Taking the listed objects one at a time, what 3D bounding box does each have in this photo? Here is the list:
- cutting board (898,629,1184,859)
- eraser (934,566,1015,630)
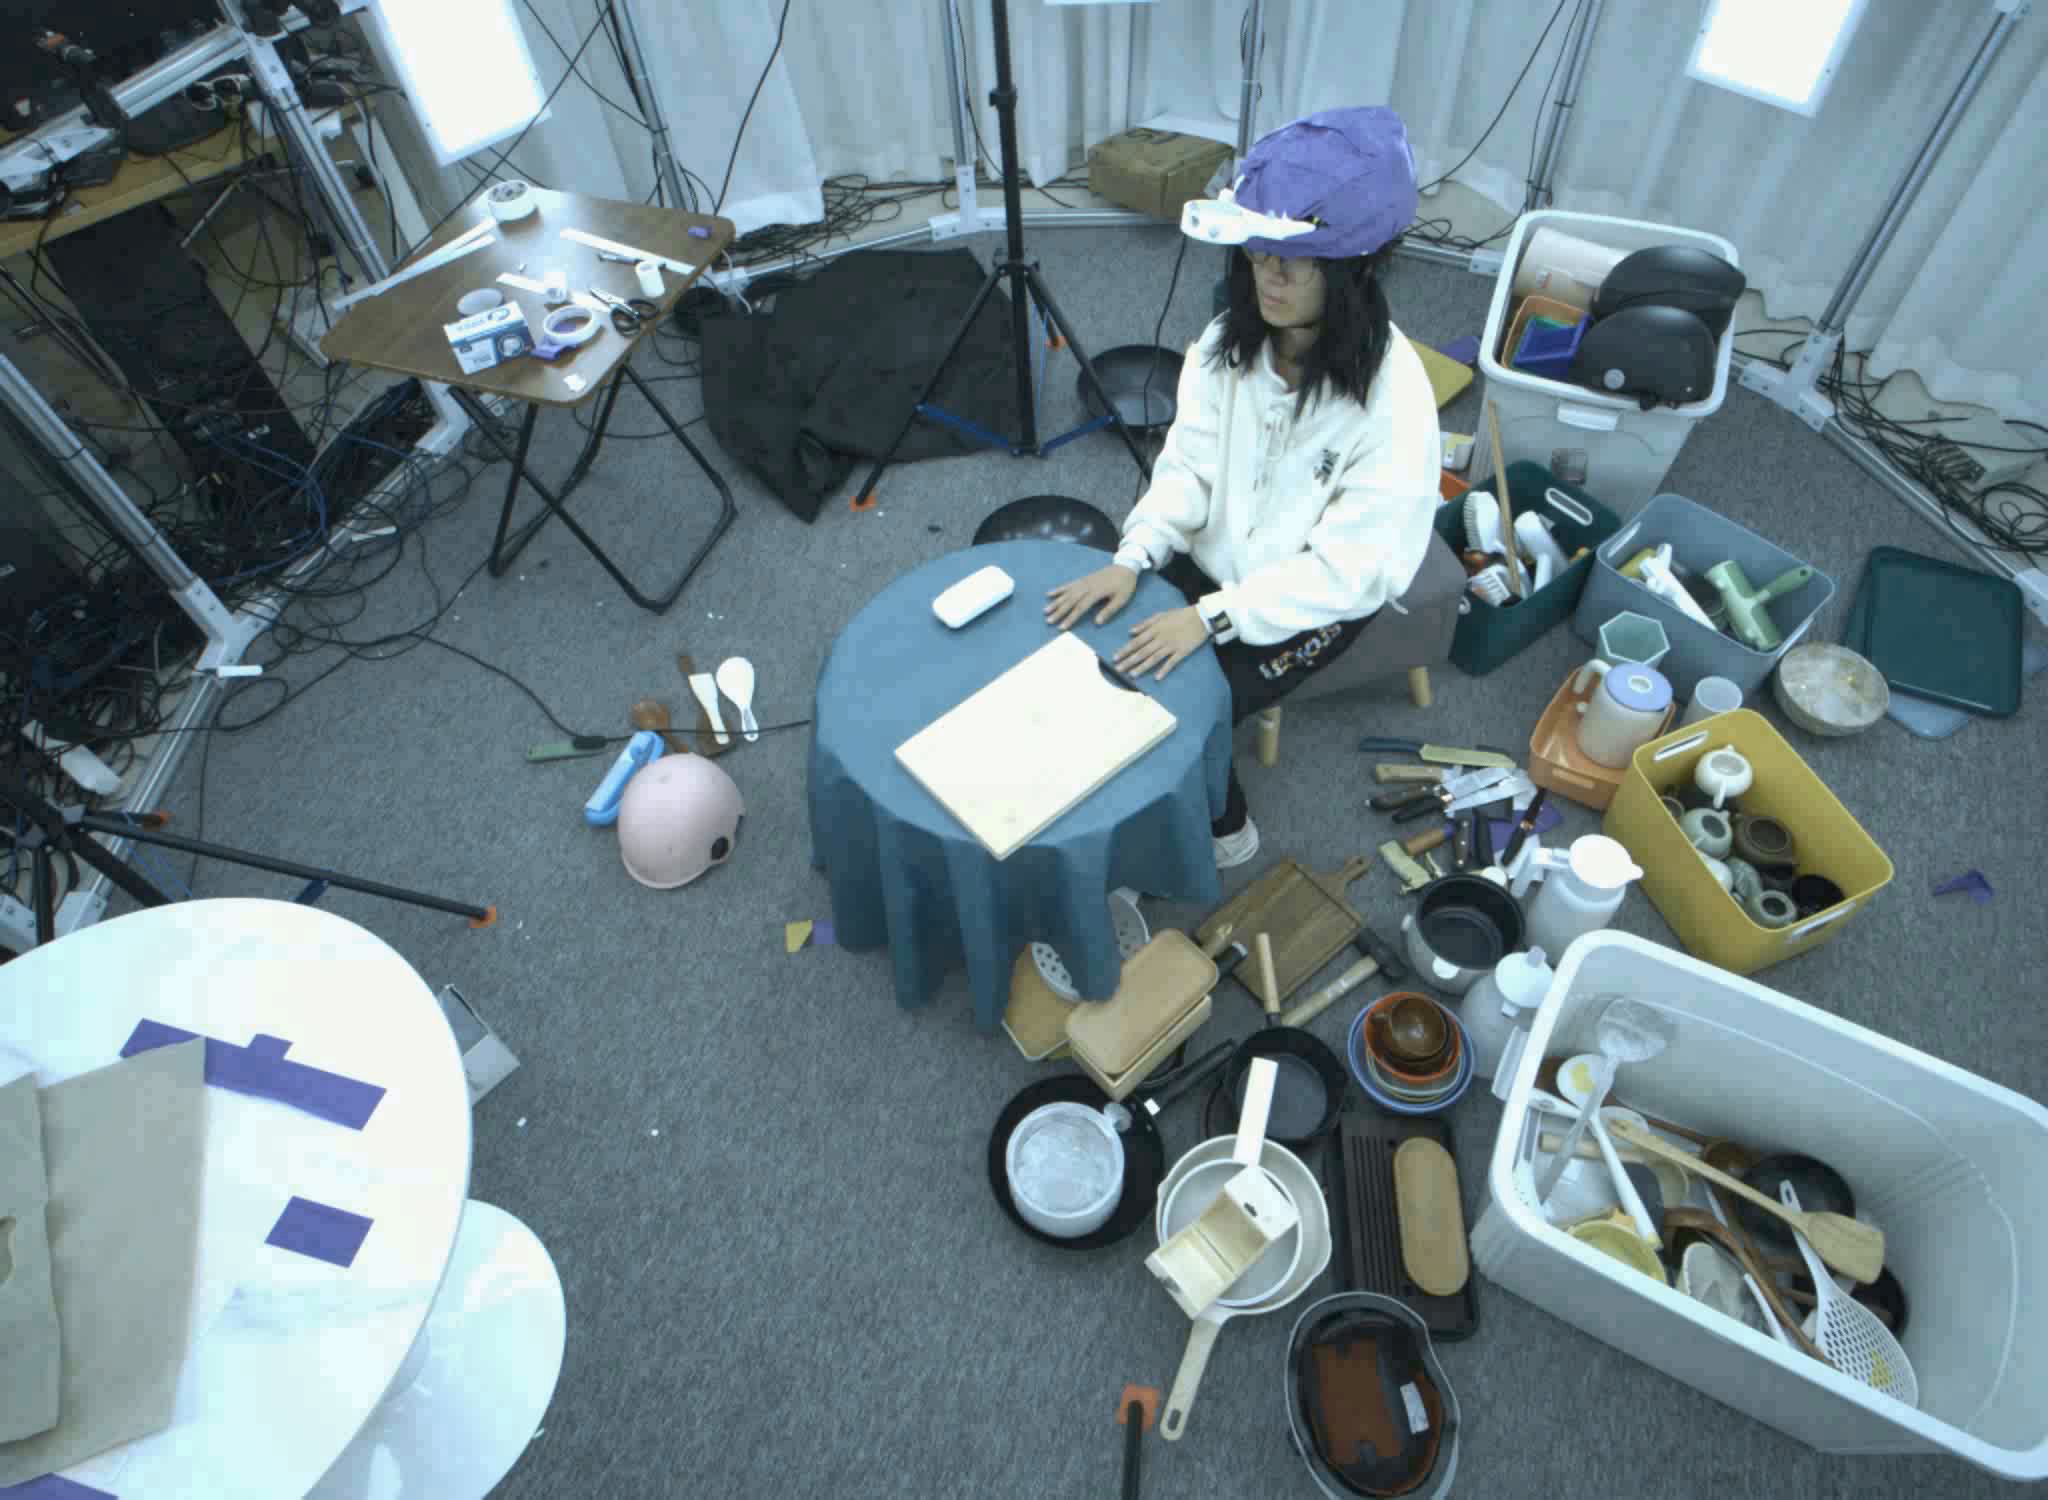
[{"bbox_3d":[0.023,-0.019,1.791,0.351,0.024,0.246,-37,62,-22],"label":"cutting board"},{"bbox_3d":[-0.078,-0.242,1.942,0.132,0.035,0.062,-34,60,-20],"label":"eraser"}]
